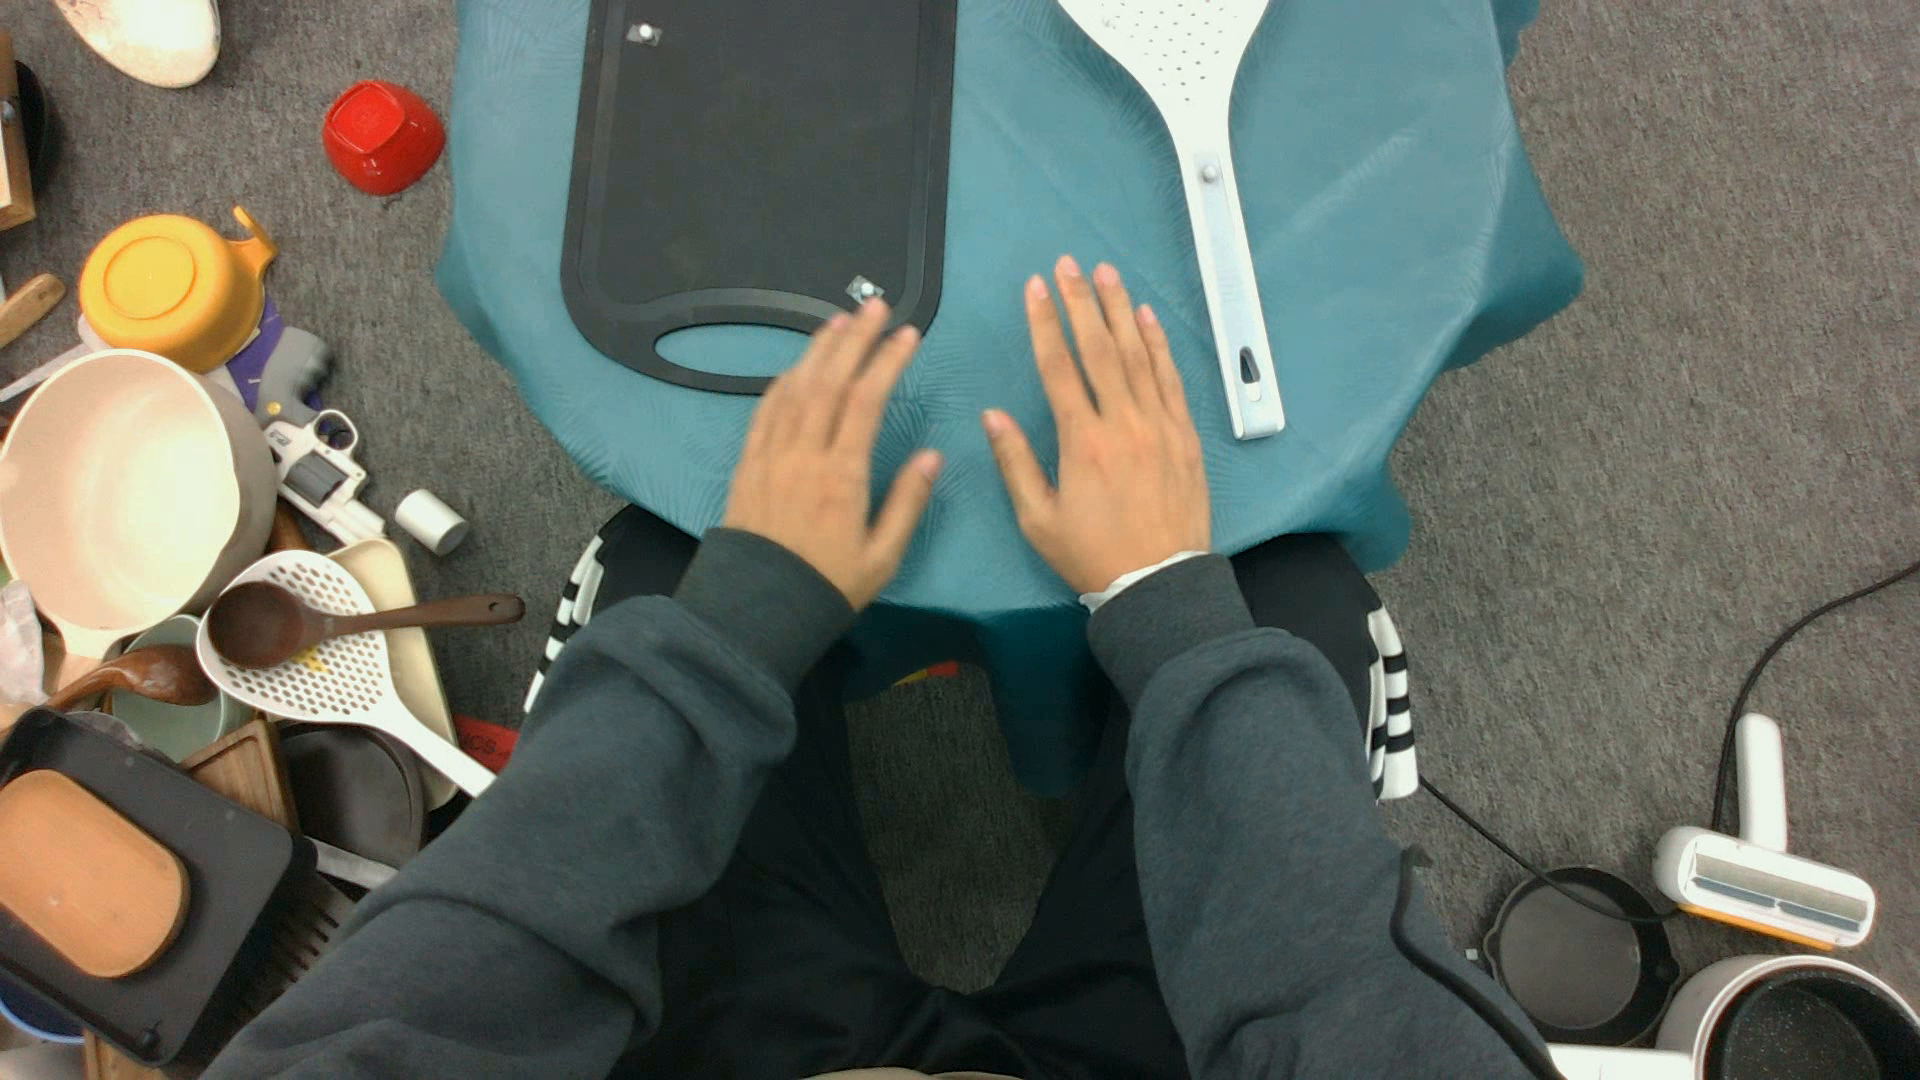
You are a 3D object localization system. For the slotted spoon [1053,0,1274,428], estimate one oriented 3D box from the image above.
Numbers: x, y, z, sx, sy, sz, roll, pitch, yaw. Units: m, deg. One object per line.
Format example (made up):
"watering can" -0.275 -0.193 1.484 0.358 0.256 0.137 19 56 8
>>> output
"slotted spoon" 0.124 -0.232 0.756 0.136 0.045 0.350 -11 79 -1

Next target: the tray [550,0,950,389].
"tray" -0.115 -0.241 0.776 0.211 0.010 0.326 3 78 0
